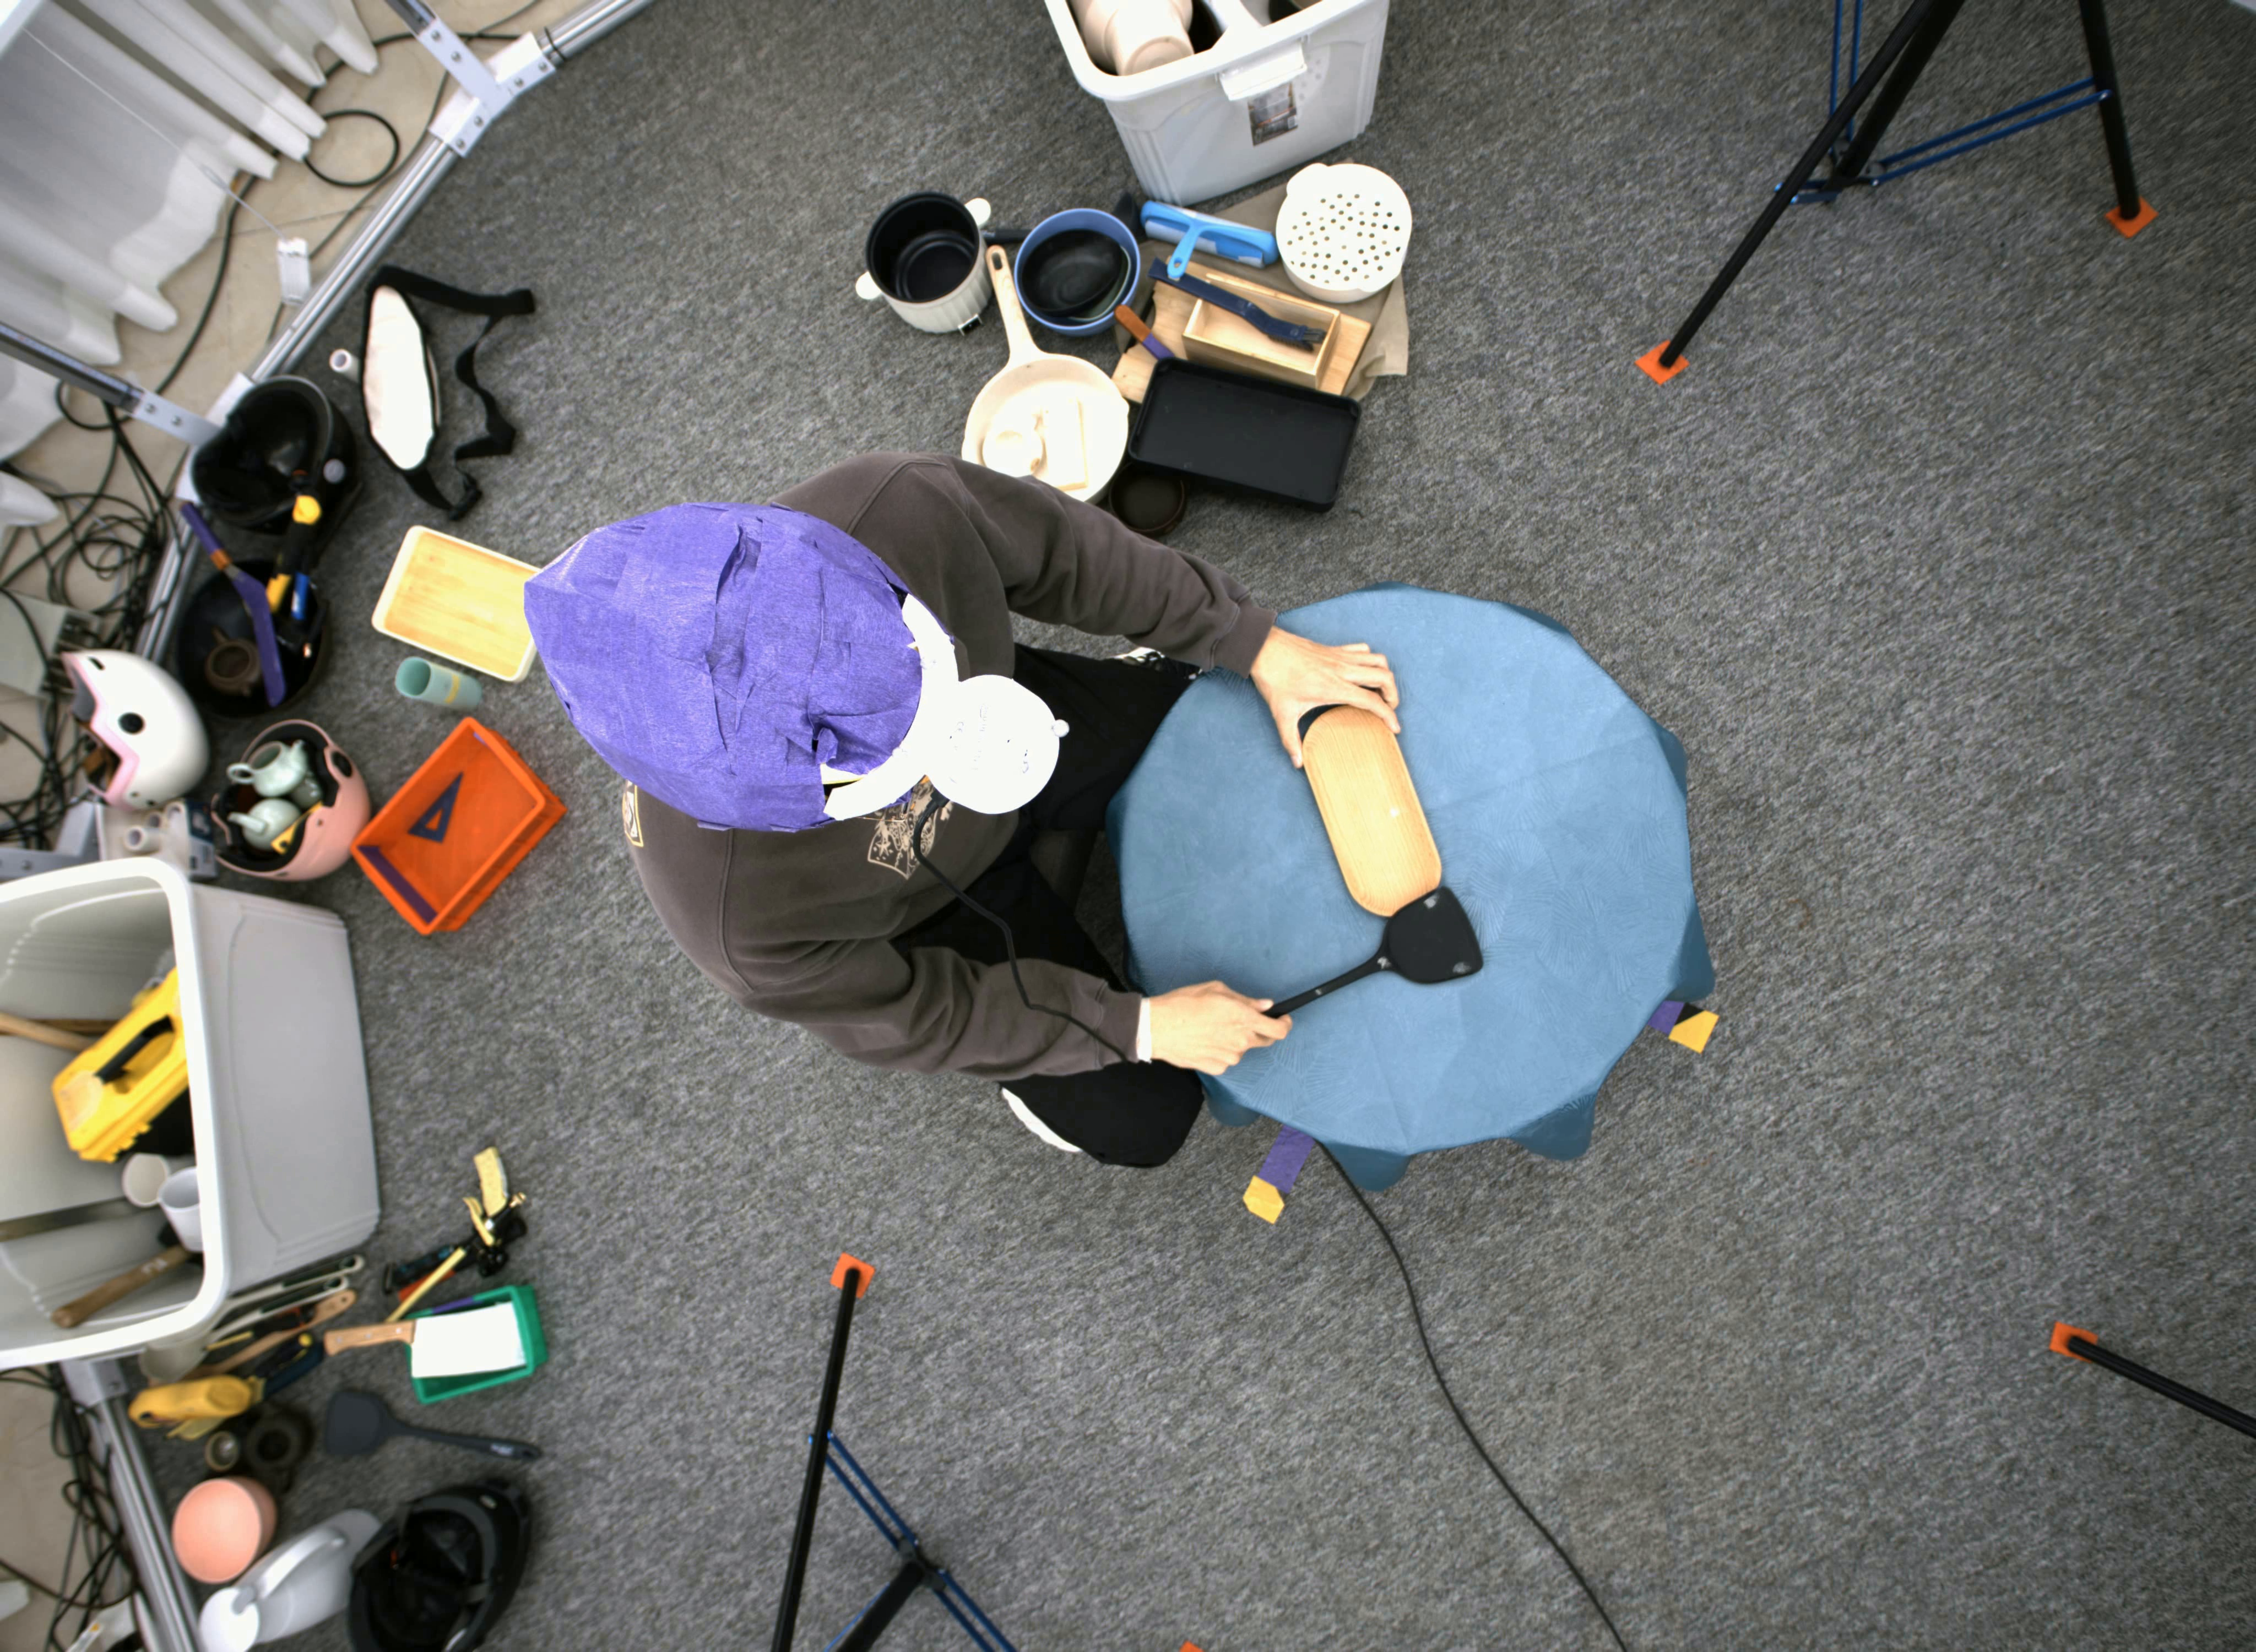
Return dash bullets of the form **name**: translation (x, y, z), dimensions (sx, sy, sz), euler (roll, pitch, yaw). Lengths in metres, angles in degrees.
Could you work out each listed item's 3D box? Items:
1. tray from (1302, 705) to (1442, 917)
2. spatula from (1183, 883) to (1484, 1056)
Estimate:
- **tray**: translation (0.256, -0.017, 1.454), dimensions (0.102, 0.020, 0.230), euler (-20, 86, 8)
- **spatula**: translation (0.206, 0.165, 1.432), dimensions (0.326, 0.040, 0.100), euler (-25, 92, -1)
